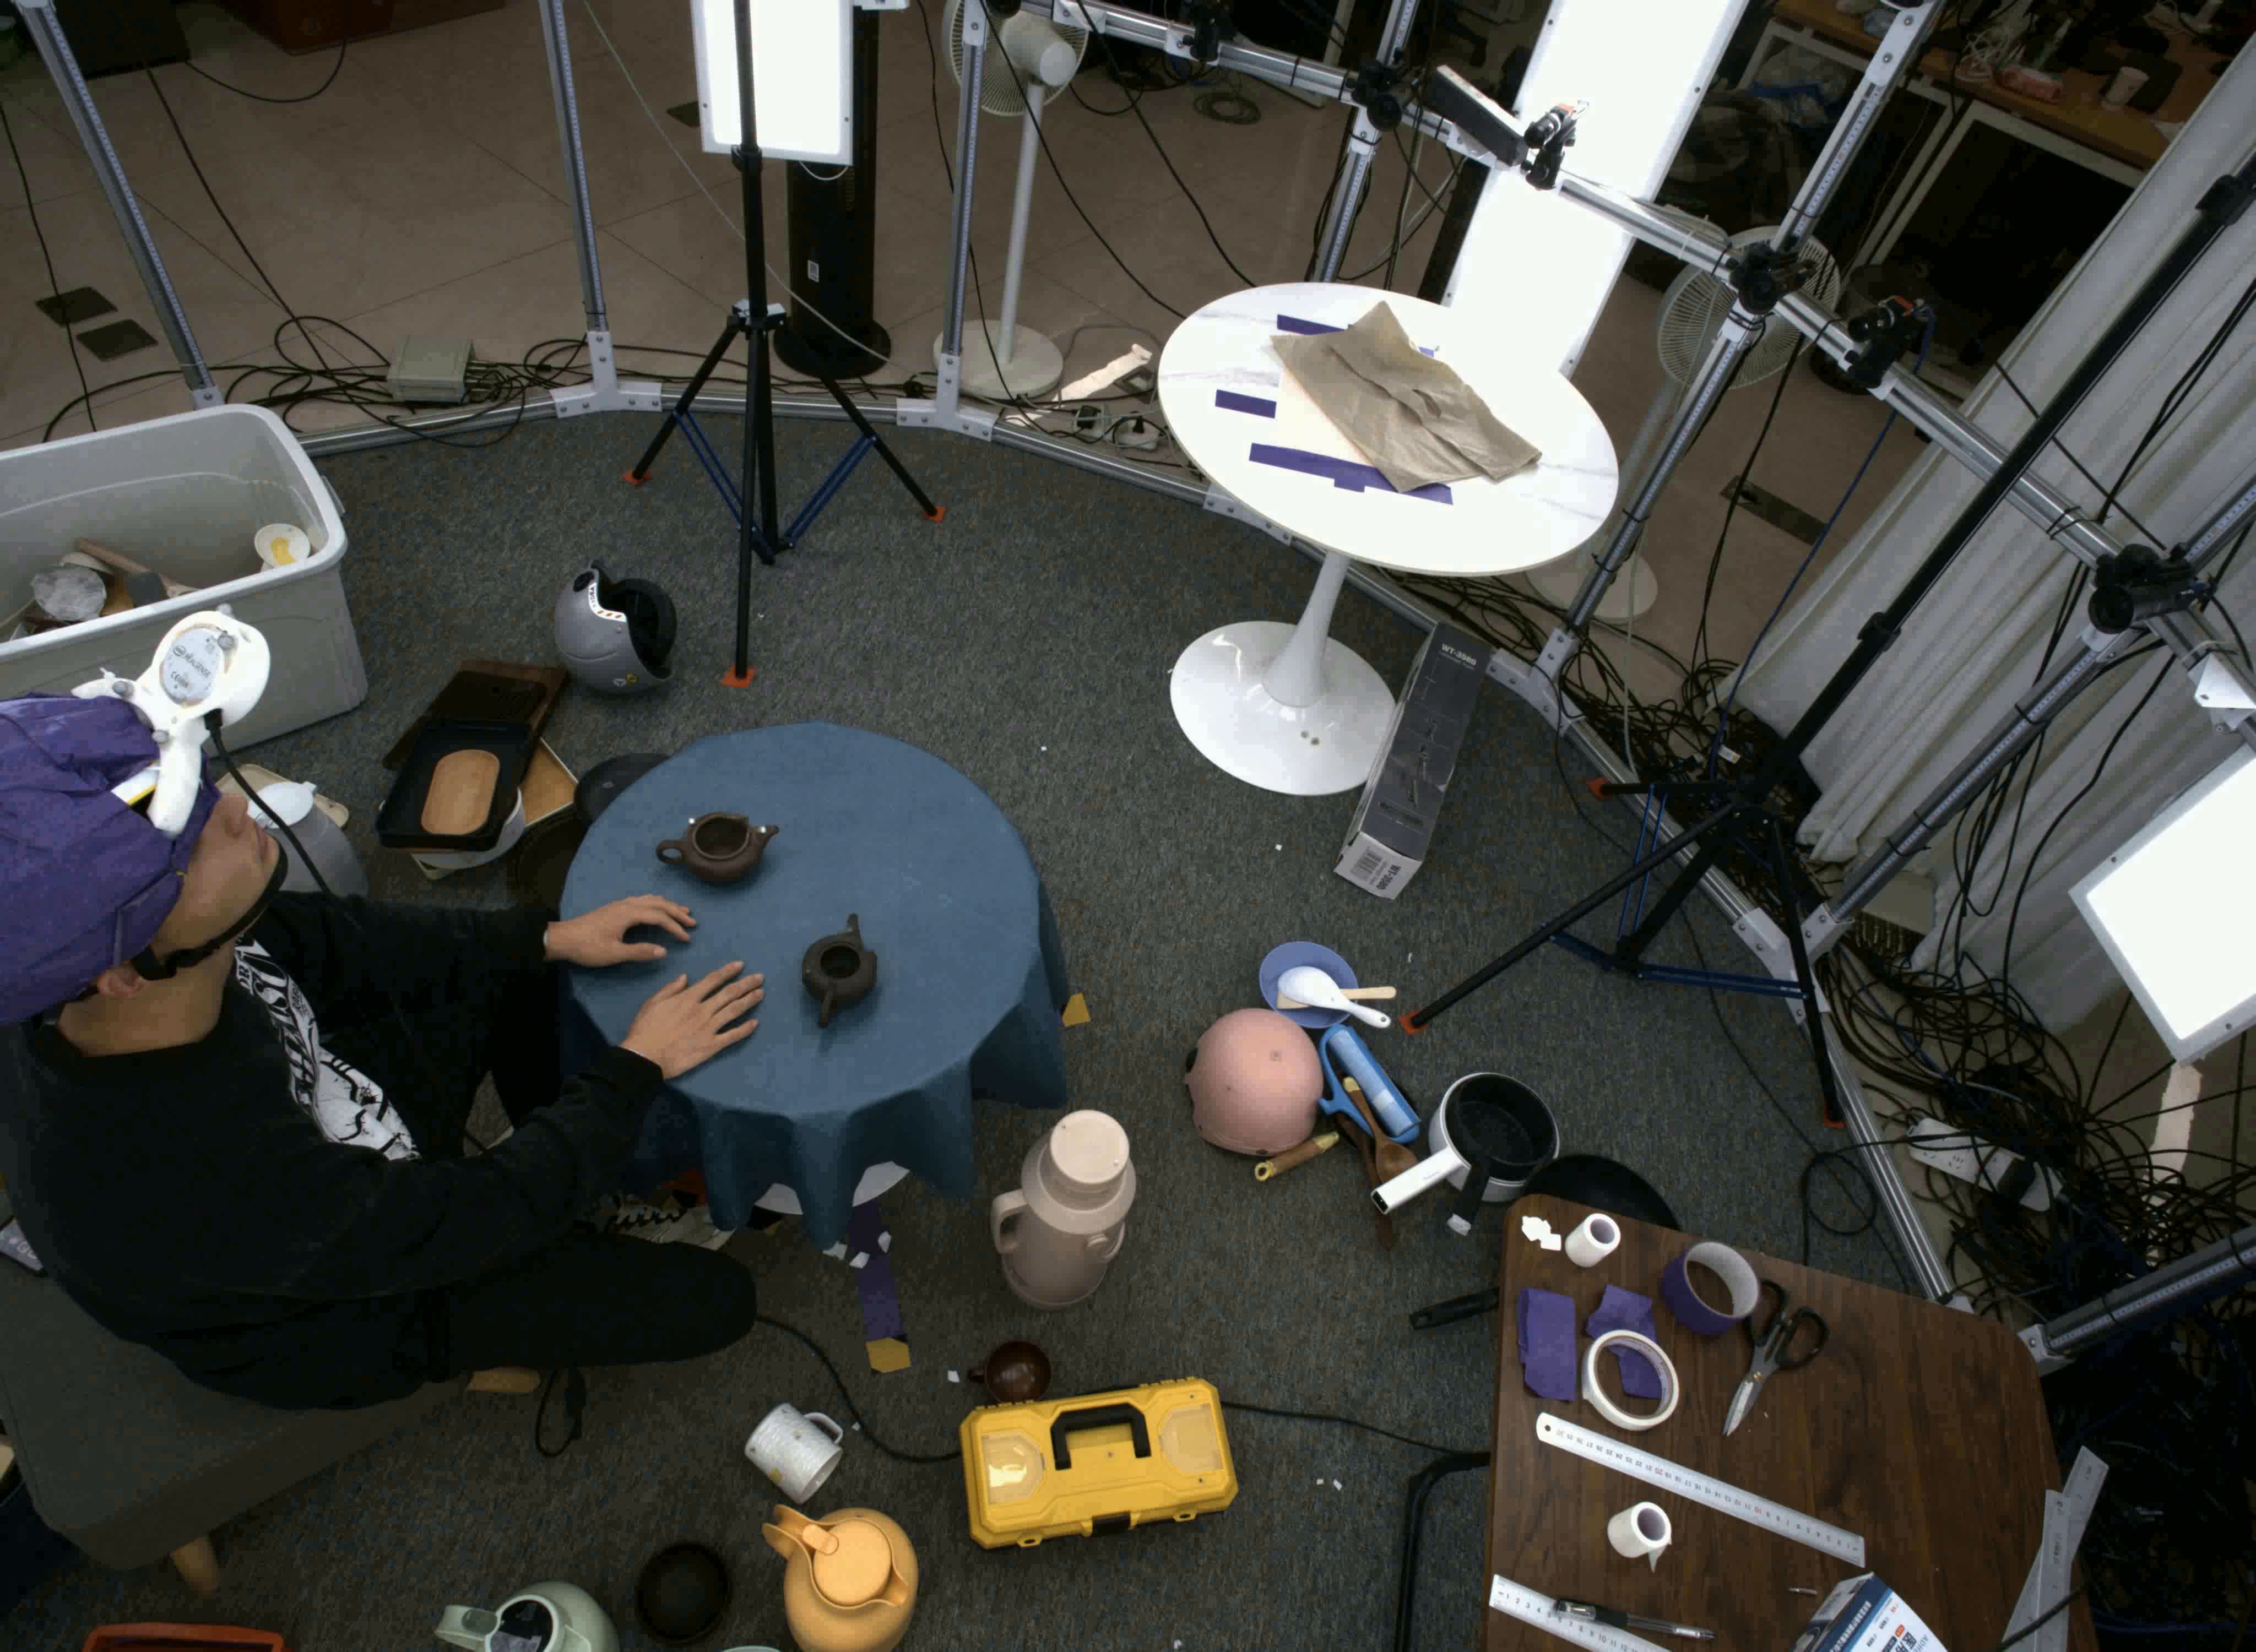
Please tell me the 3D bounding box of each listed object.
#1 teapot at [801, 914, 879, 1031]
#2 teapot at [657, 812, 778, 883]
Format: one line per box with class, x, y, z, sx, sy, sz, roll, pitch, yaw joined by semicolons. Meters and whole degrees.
teapot;-0.348;0.177;1.568;0.091;0.066;0.152;11;51;-2
teapot;-0.521;0.025;1.641;0.154;0.055;0.100;-12;55;-23
